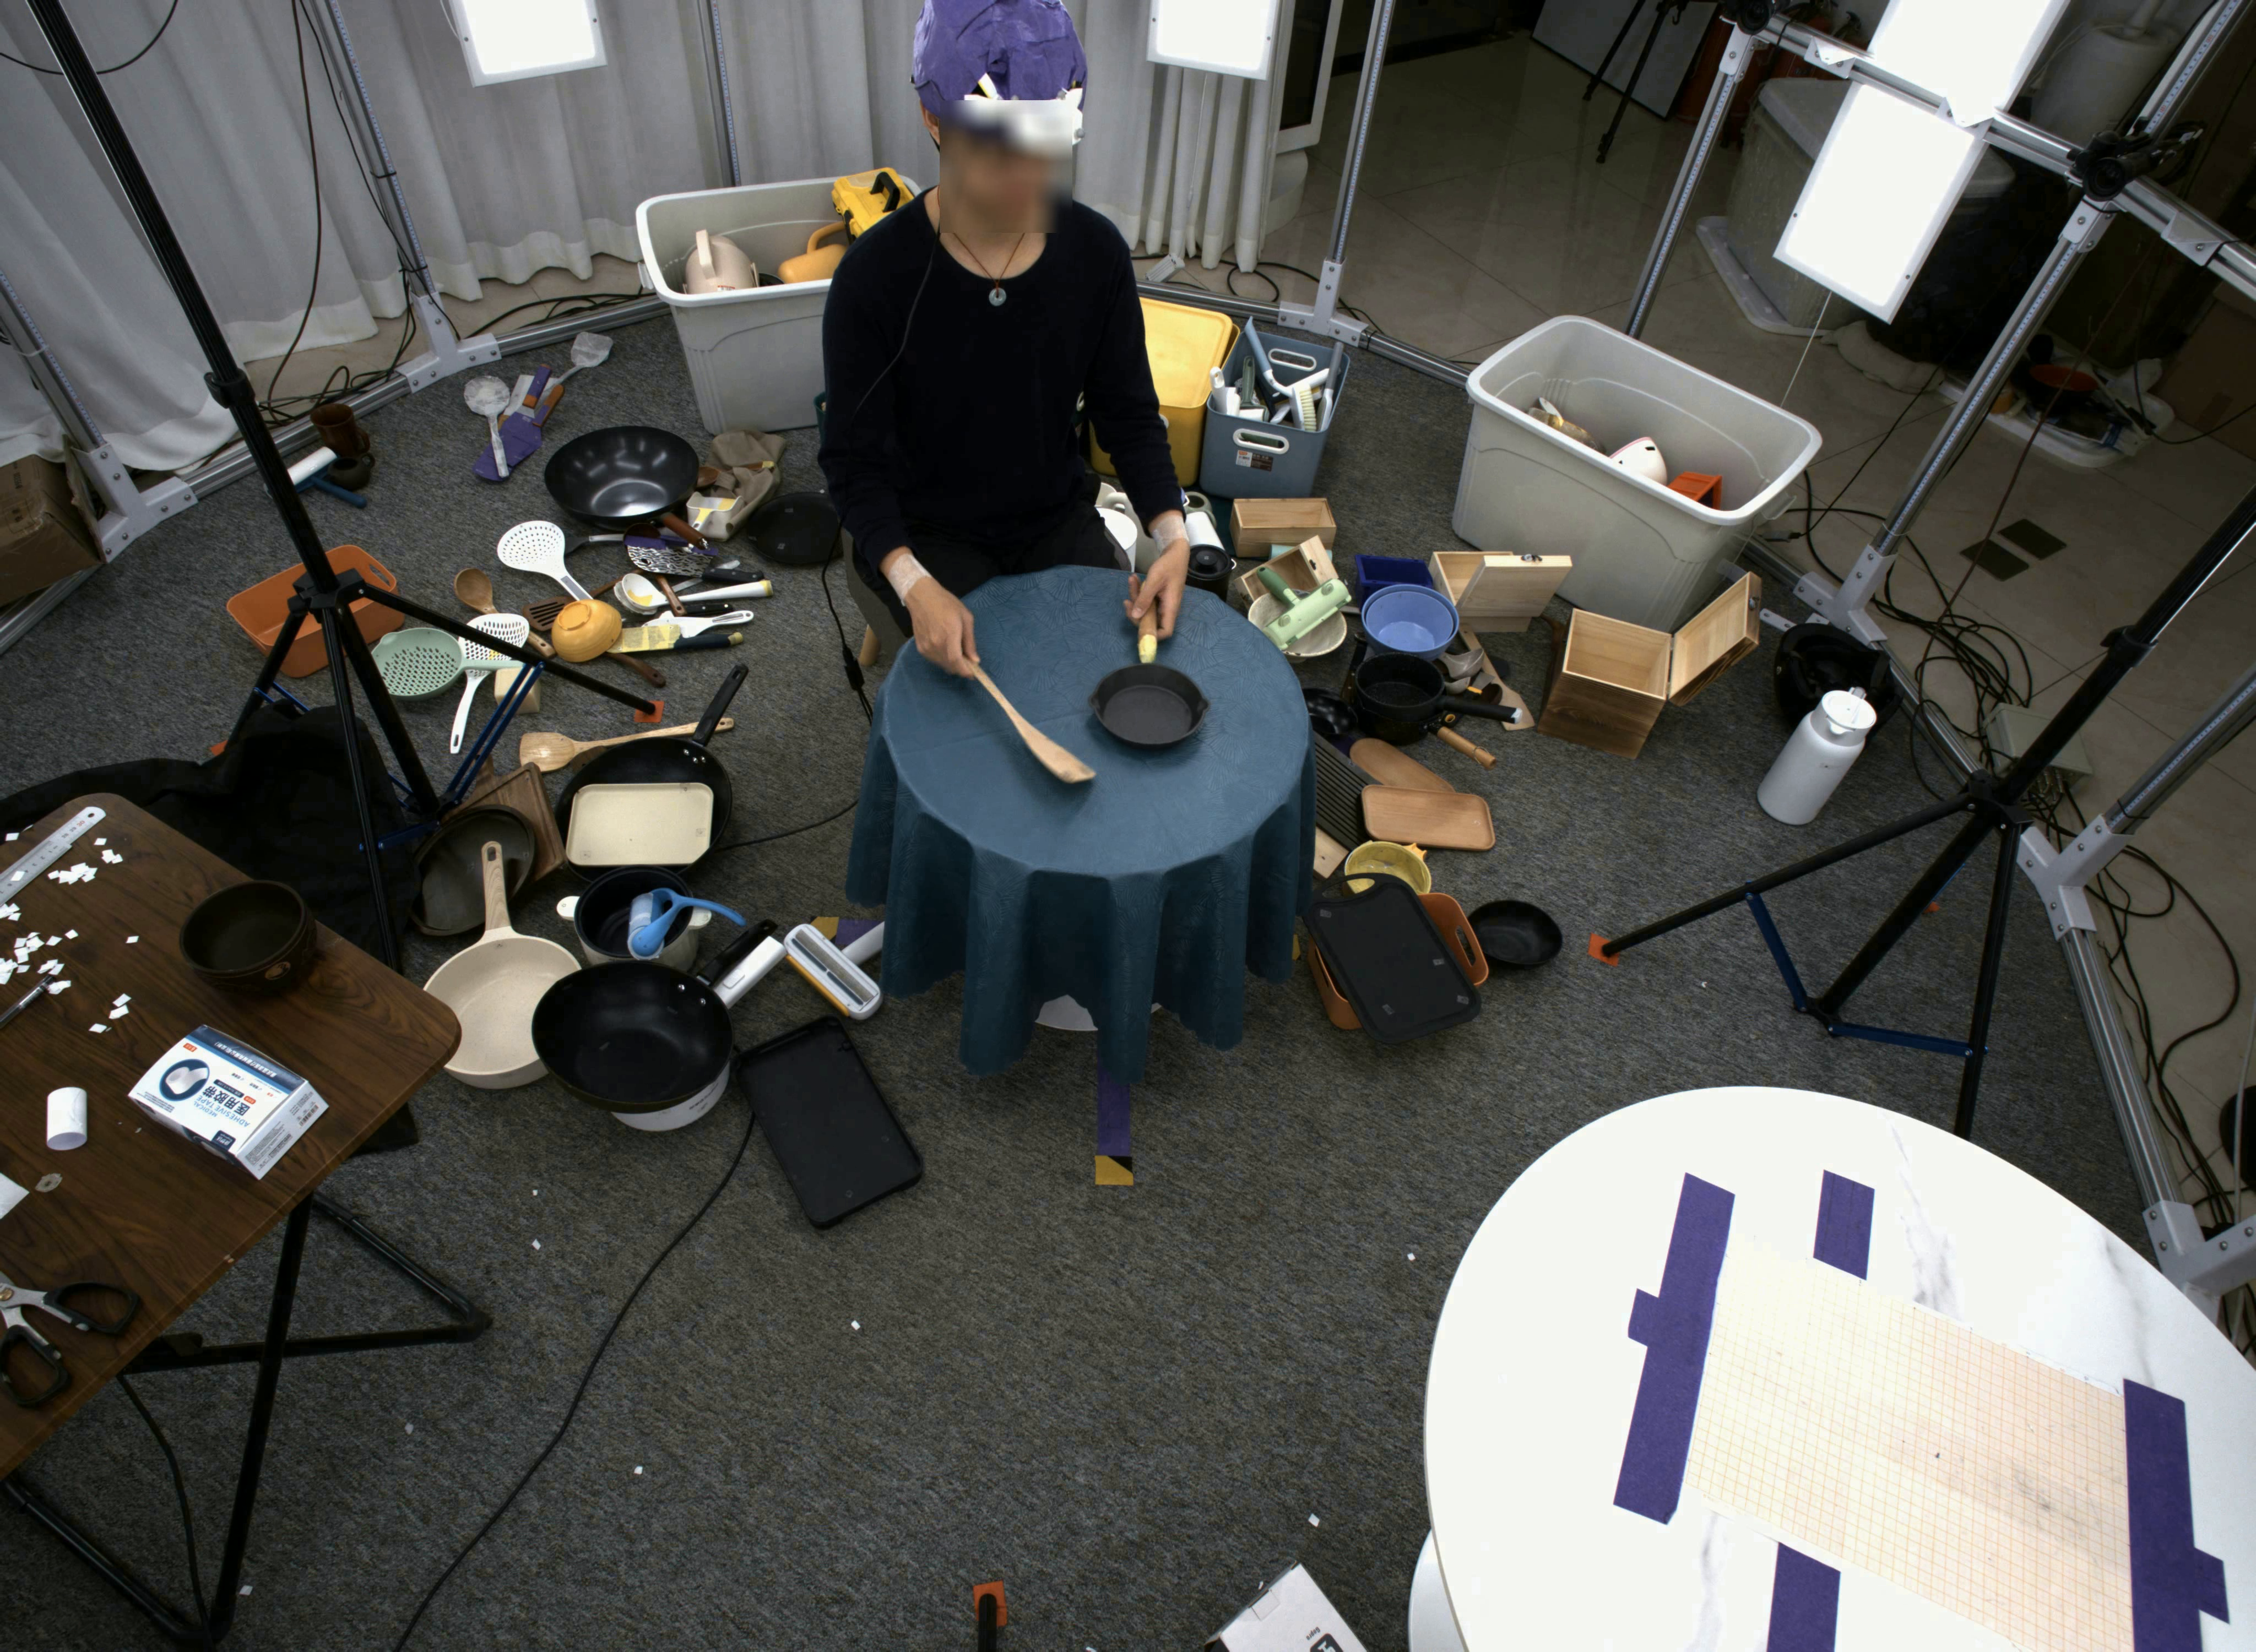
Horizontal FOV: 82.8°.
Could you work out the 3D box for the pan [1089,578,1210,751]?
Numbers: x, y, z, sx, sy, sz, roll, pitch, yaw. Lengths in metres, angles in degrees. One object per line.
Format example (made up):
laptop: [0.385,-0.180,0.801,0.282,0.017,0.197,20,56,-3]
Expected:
pan: [0.033,-0.233,1.840,0.169,0.048,0.332,3,51,-1]

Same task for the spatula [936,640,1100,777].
spatula: [-0.157,-0.161,1.750,0.333,0.016,0.079,44,23,26]
